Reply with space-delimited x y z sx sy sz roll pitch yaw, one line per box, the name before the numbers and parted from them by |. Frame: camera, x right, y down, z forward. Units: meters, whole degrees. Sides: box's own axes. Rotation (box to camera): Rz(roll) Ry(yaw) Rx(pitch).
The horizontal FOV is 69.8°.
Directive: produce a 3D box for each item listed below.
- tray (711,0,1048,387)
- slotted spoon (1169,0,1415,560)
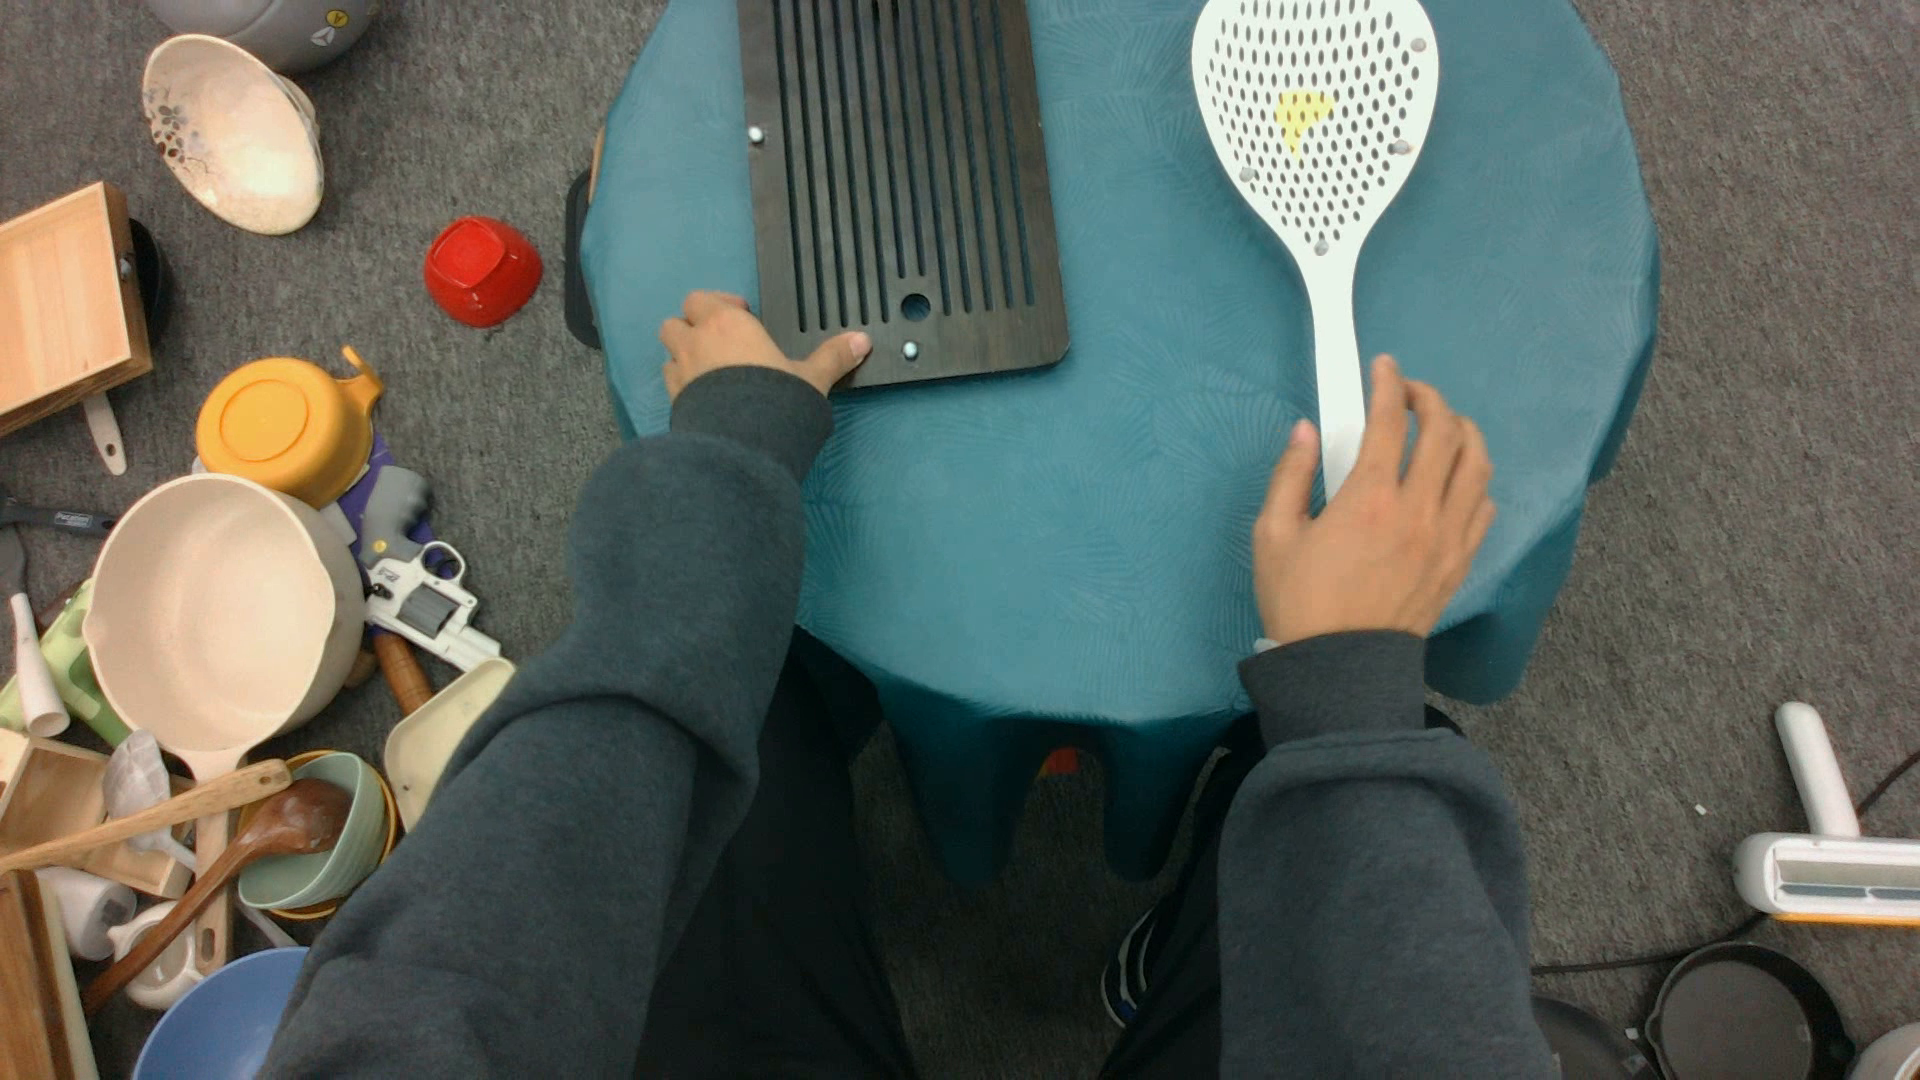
tray | -0.052 -0.238 0.795 0.170 0.018 0.306 -7 75 0
slotted spoon | 0.191 -0.163 0.753 0.137 0.050 0.348 -3 74 -1
